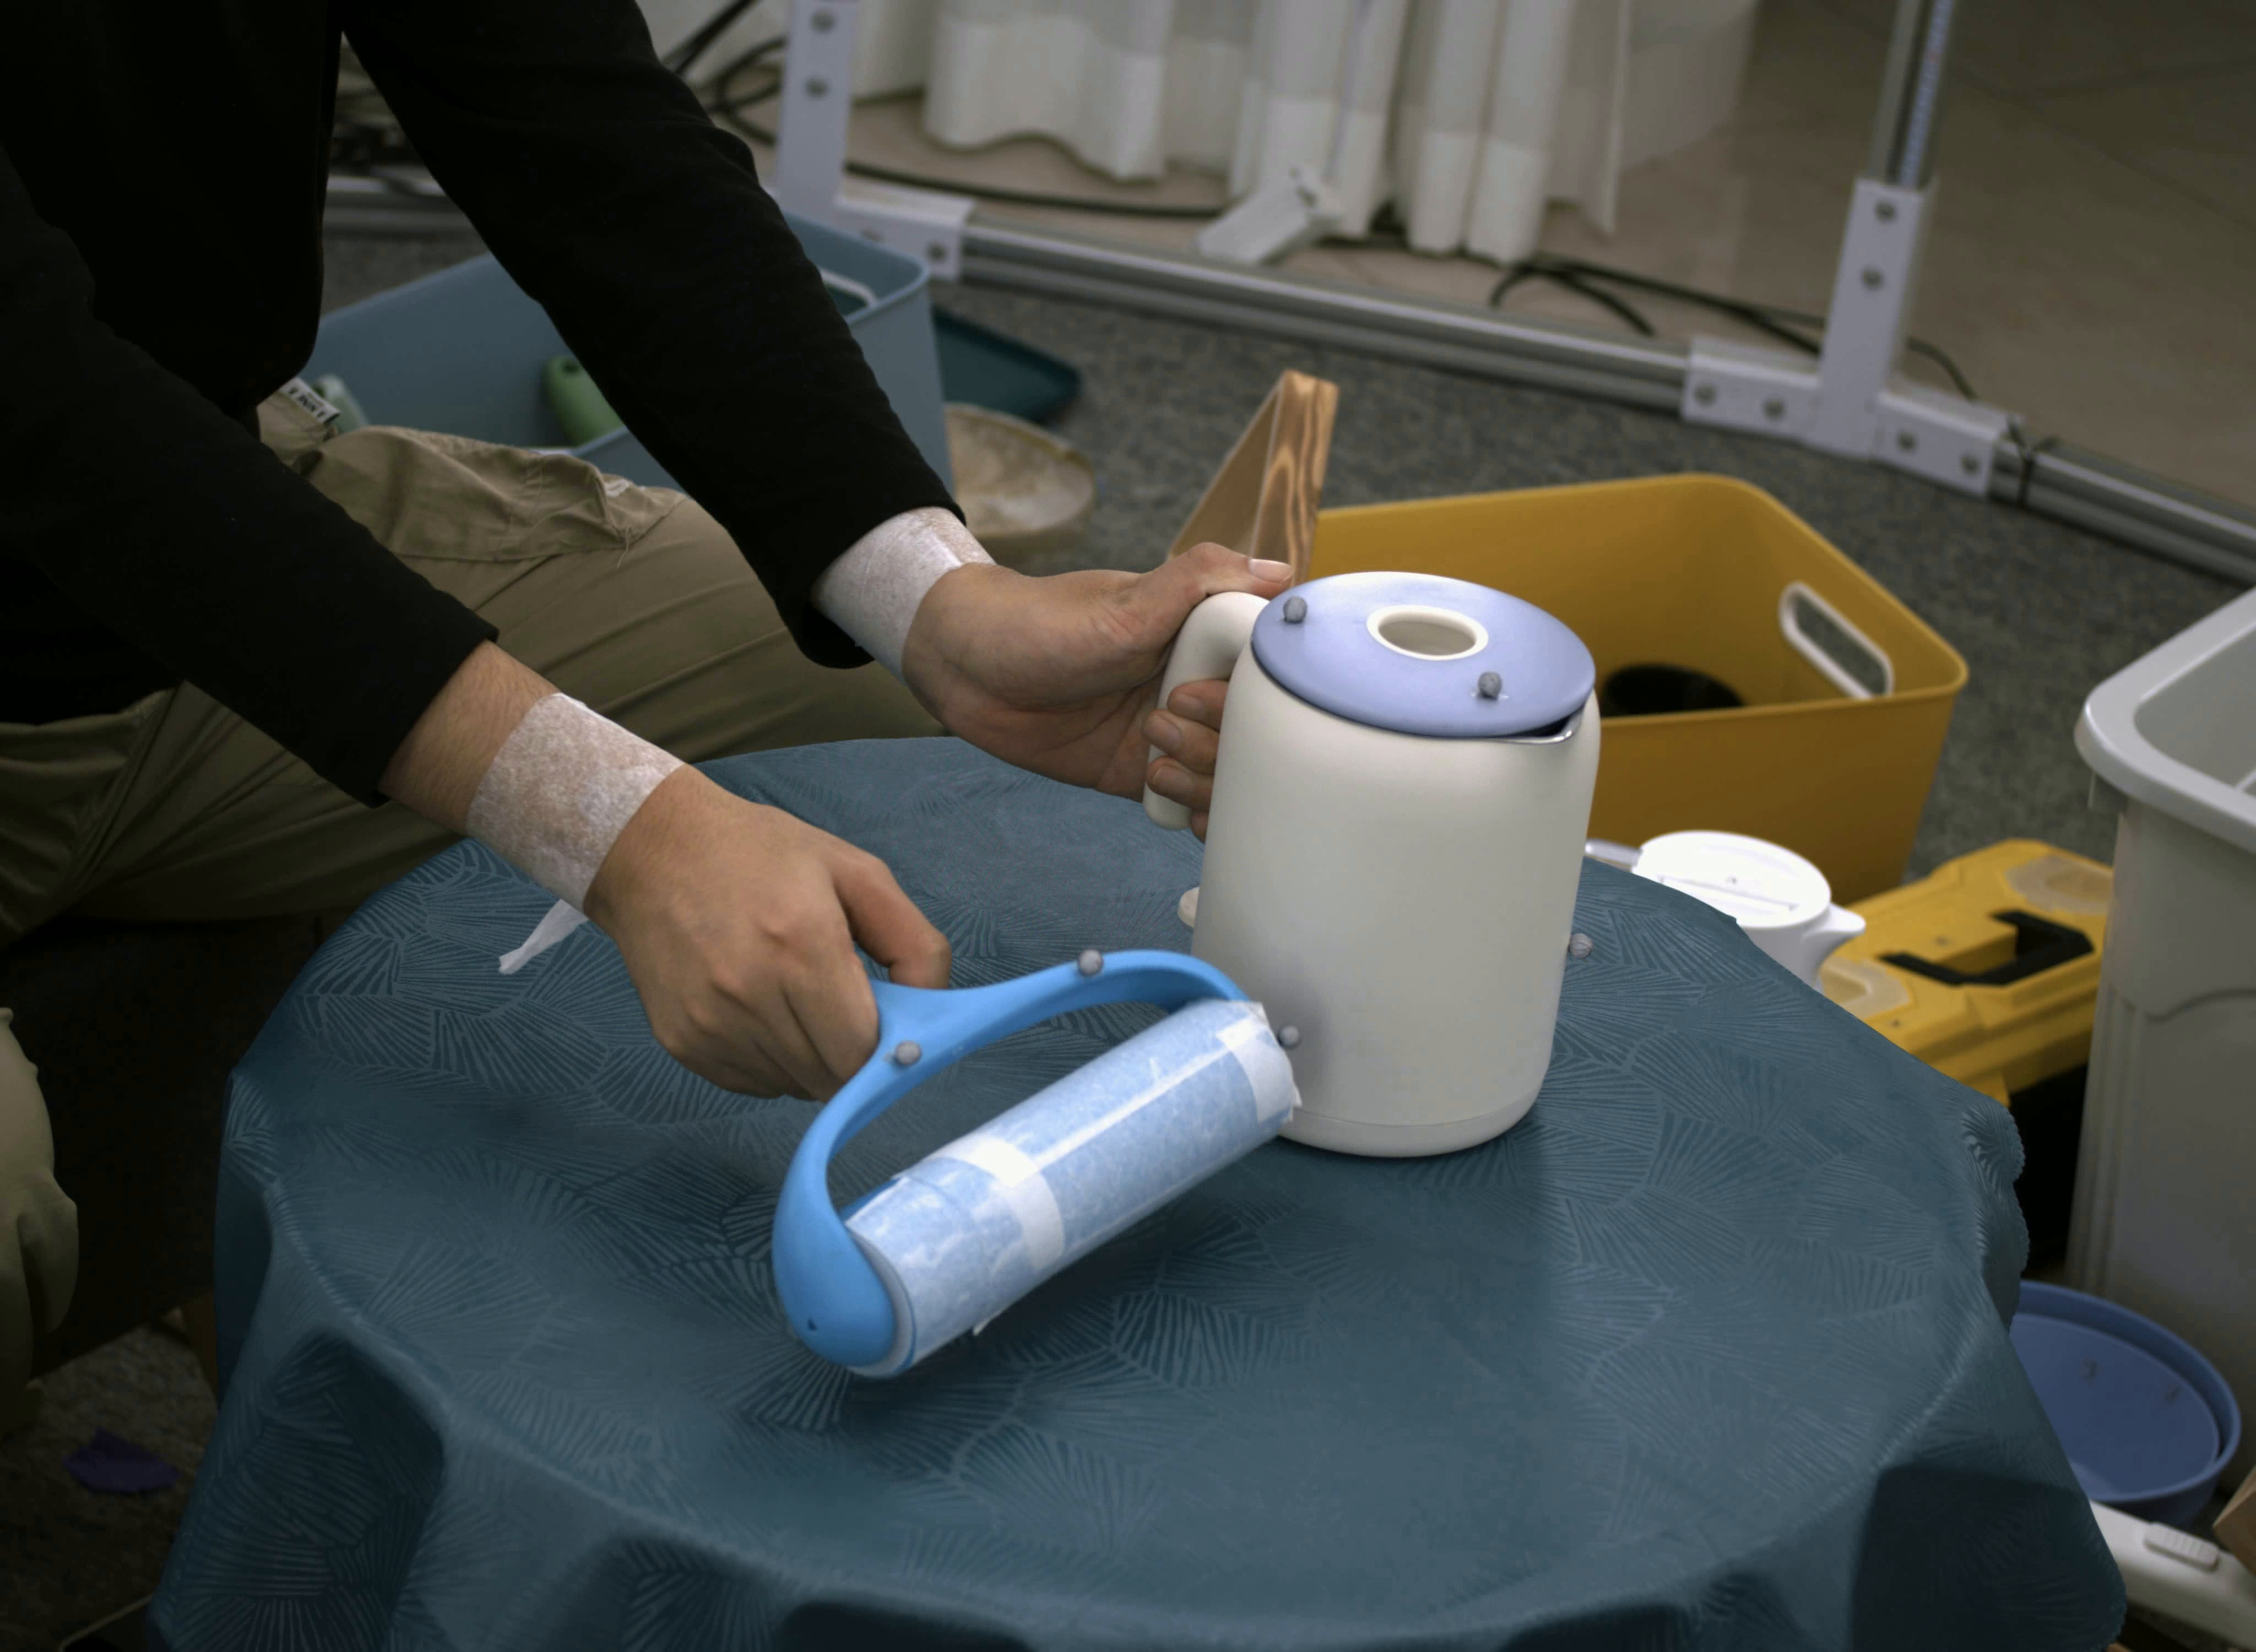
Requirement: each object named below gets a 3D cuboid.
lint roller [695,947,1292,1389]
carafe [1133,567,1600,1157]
[{"bbox_3d":[-0.071,0.084,1.739,0.181,0.067,0.228,34,43,23],"label":"lint roller"},{"bbox_3d":[0.075,0.003,1.867,0.131,0.182,0.192,-18,33,-41],"label":"carafe"}]
